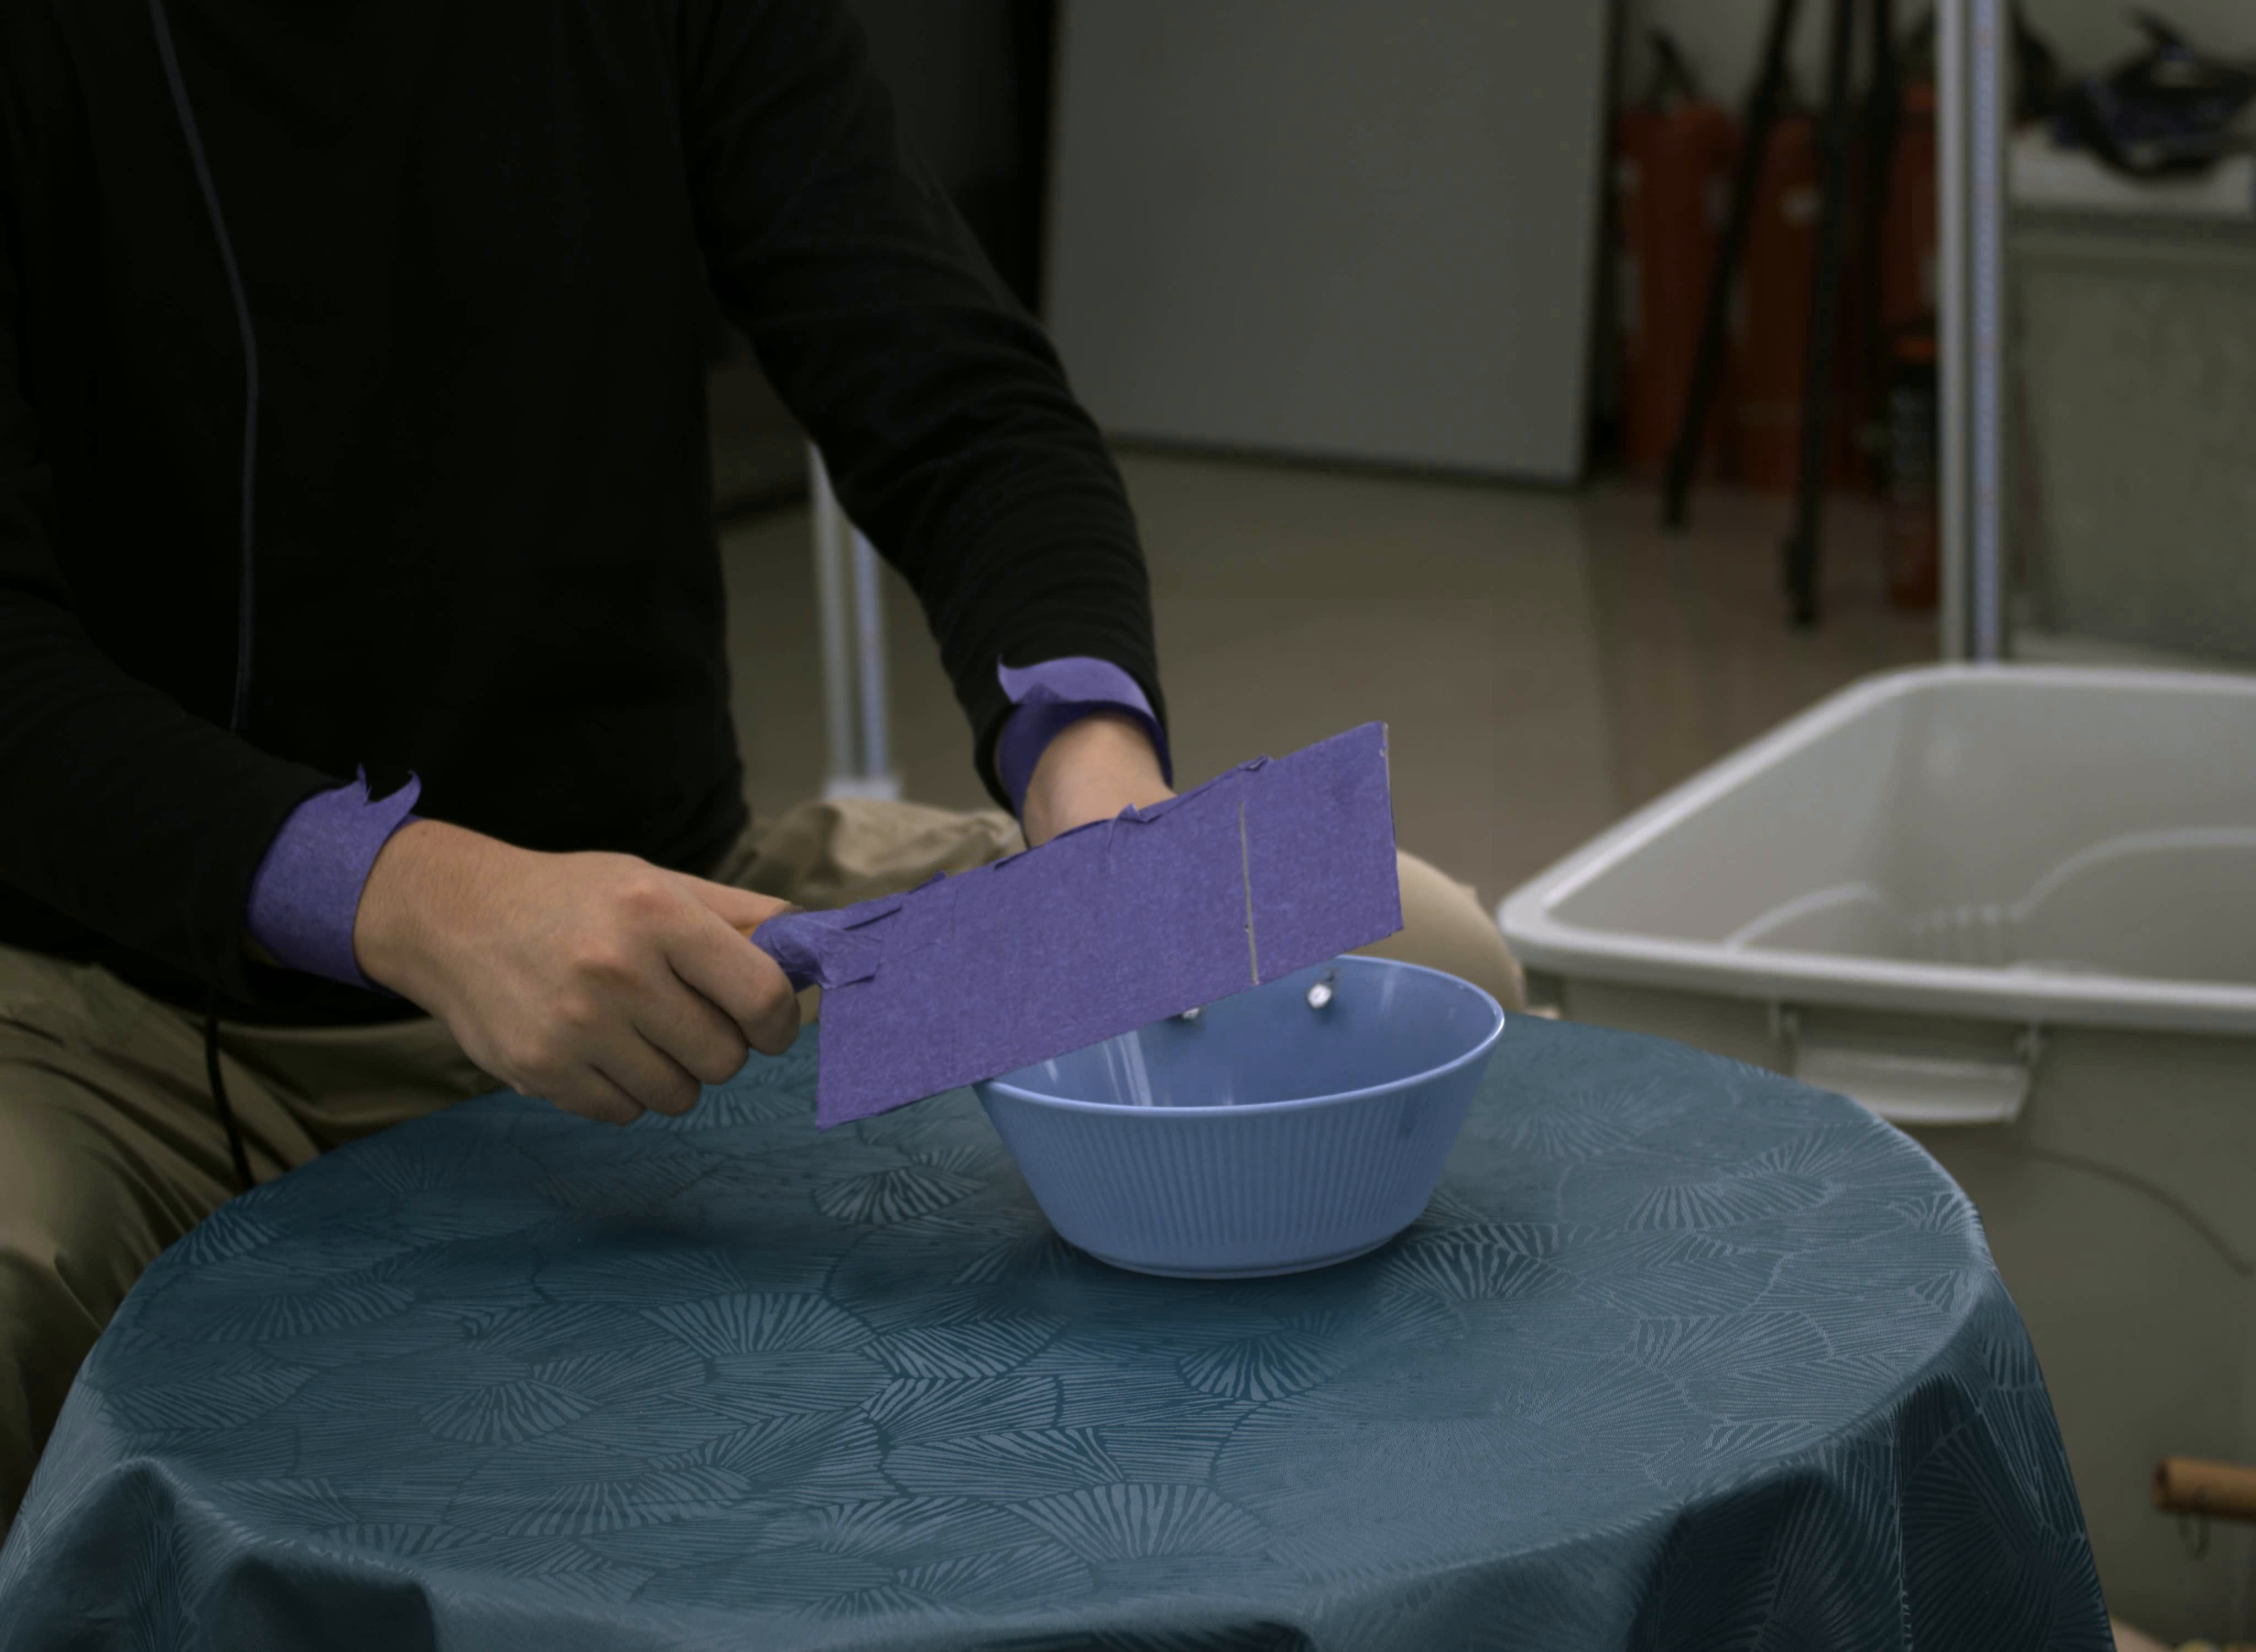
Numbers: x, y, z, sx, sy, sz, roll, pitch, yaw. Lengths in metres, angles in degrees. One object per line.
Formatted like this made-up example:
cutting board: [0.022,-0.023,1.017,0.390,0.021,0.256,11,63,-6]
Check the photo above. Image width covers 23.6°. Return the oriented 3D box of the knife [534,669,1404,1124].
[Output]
knife: [-0.055,0.042,1.710,0.316,0.032,0.105,-23,42,22]

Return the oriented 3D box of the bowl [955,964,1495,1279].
bowl: [0.033,0.096,1.719,0.174,0.071,0.176,-4,12,0]
